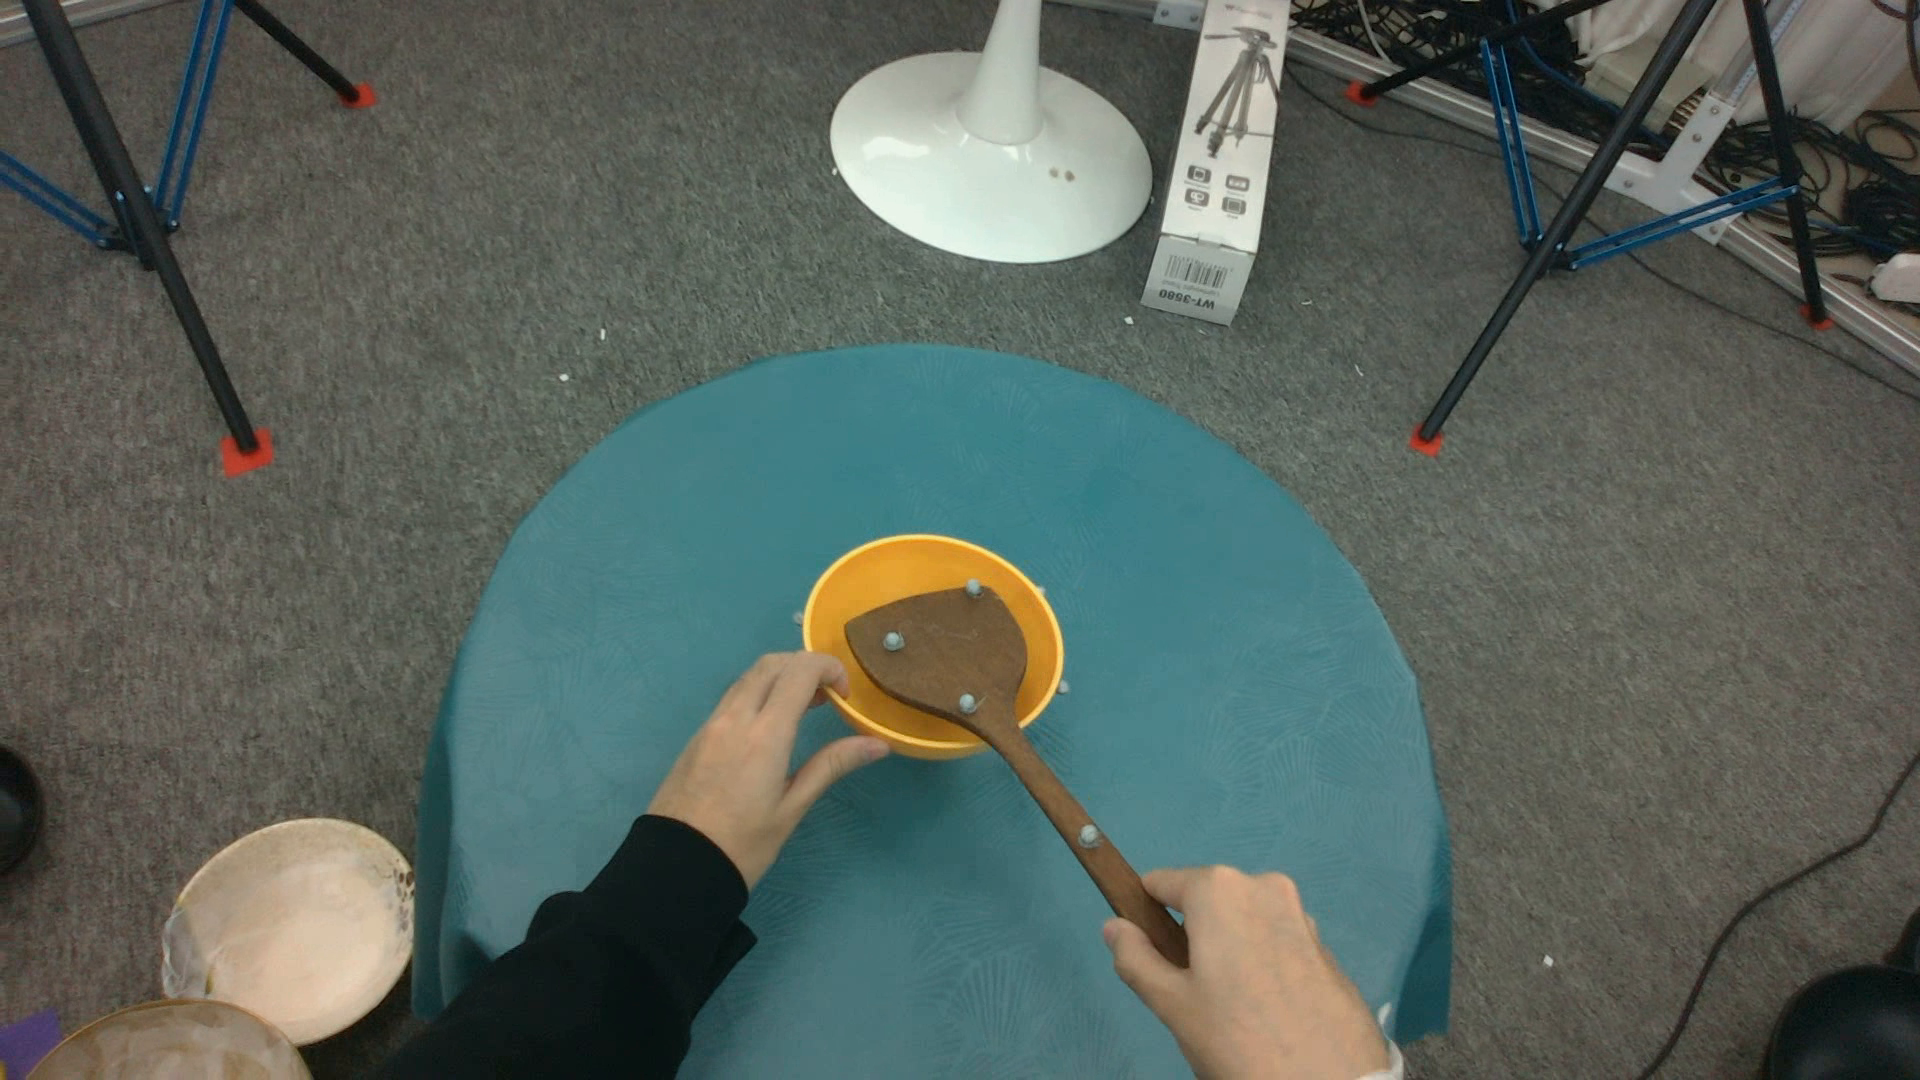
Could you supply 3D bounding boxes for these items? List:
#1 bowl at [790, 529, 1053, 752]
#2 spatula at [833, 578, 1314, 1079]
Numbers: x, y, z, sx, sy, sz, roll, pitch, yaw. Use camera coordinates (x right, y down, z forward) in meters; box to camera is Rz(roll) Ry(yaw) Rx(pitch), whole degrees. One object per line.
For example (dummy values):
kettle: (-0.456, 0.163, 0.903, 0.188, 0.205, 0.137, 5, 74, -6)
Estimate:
bowl: (-0.024, 0.066, 0.776, 0.145, 0.060, 0.146, 5, 49, -6)
spatula: (0.047, 0.125, 0.638, 0.096, 0.016, 0.386, -13, 35, -22)
